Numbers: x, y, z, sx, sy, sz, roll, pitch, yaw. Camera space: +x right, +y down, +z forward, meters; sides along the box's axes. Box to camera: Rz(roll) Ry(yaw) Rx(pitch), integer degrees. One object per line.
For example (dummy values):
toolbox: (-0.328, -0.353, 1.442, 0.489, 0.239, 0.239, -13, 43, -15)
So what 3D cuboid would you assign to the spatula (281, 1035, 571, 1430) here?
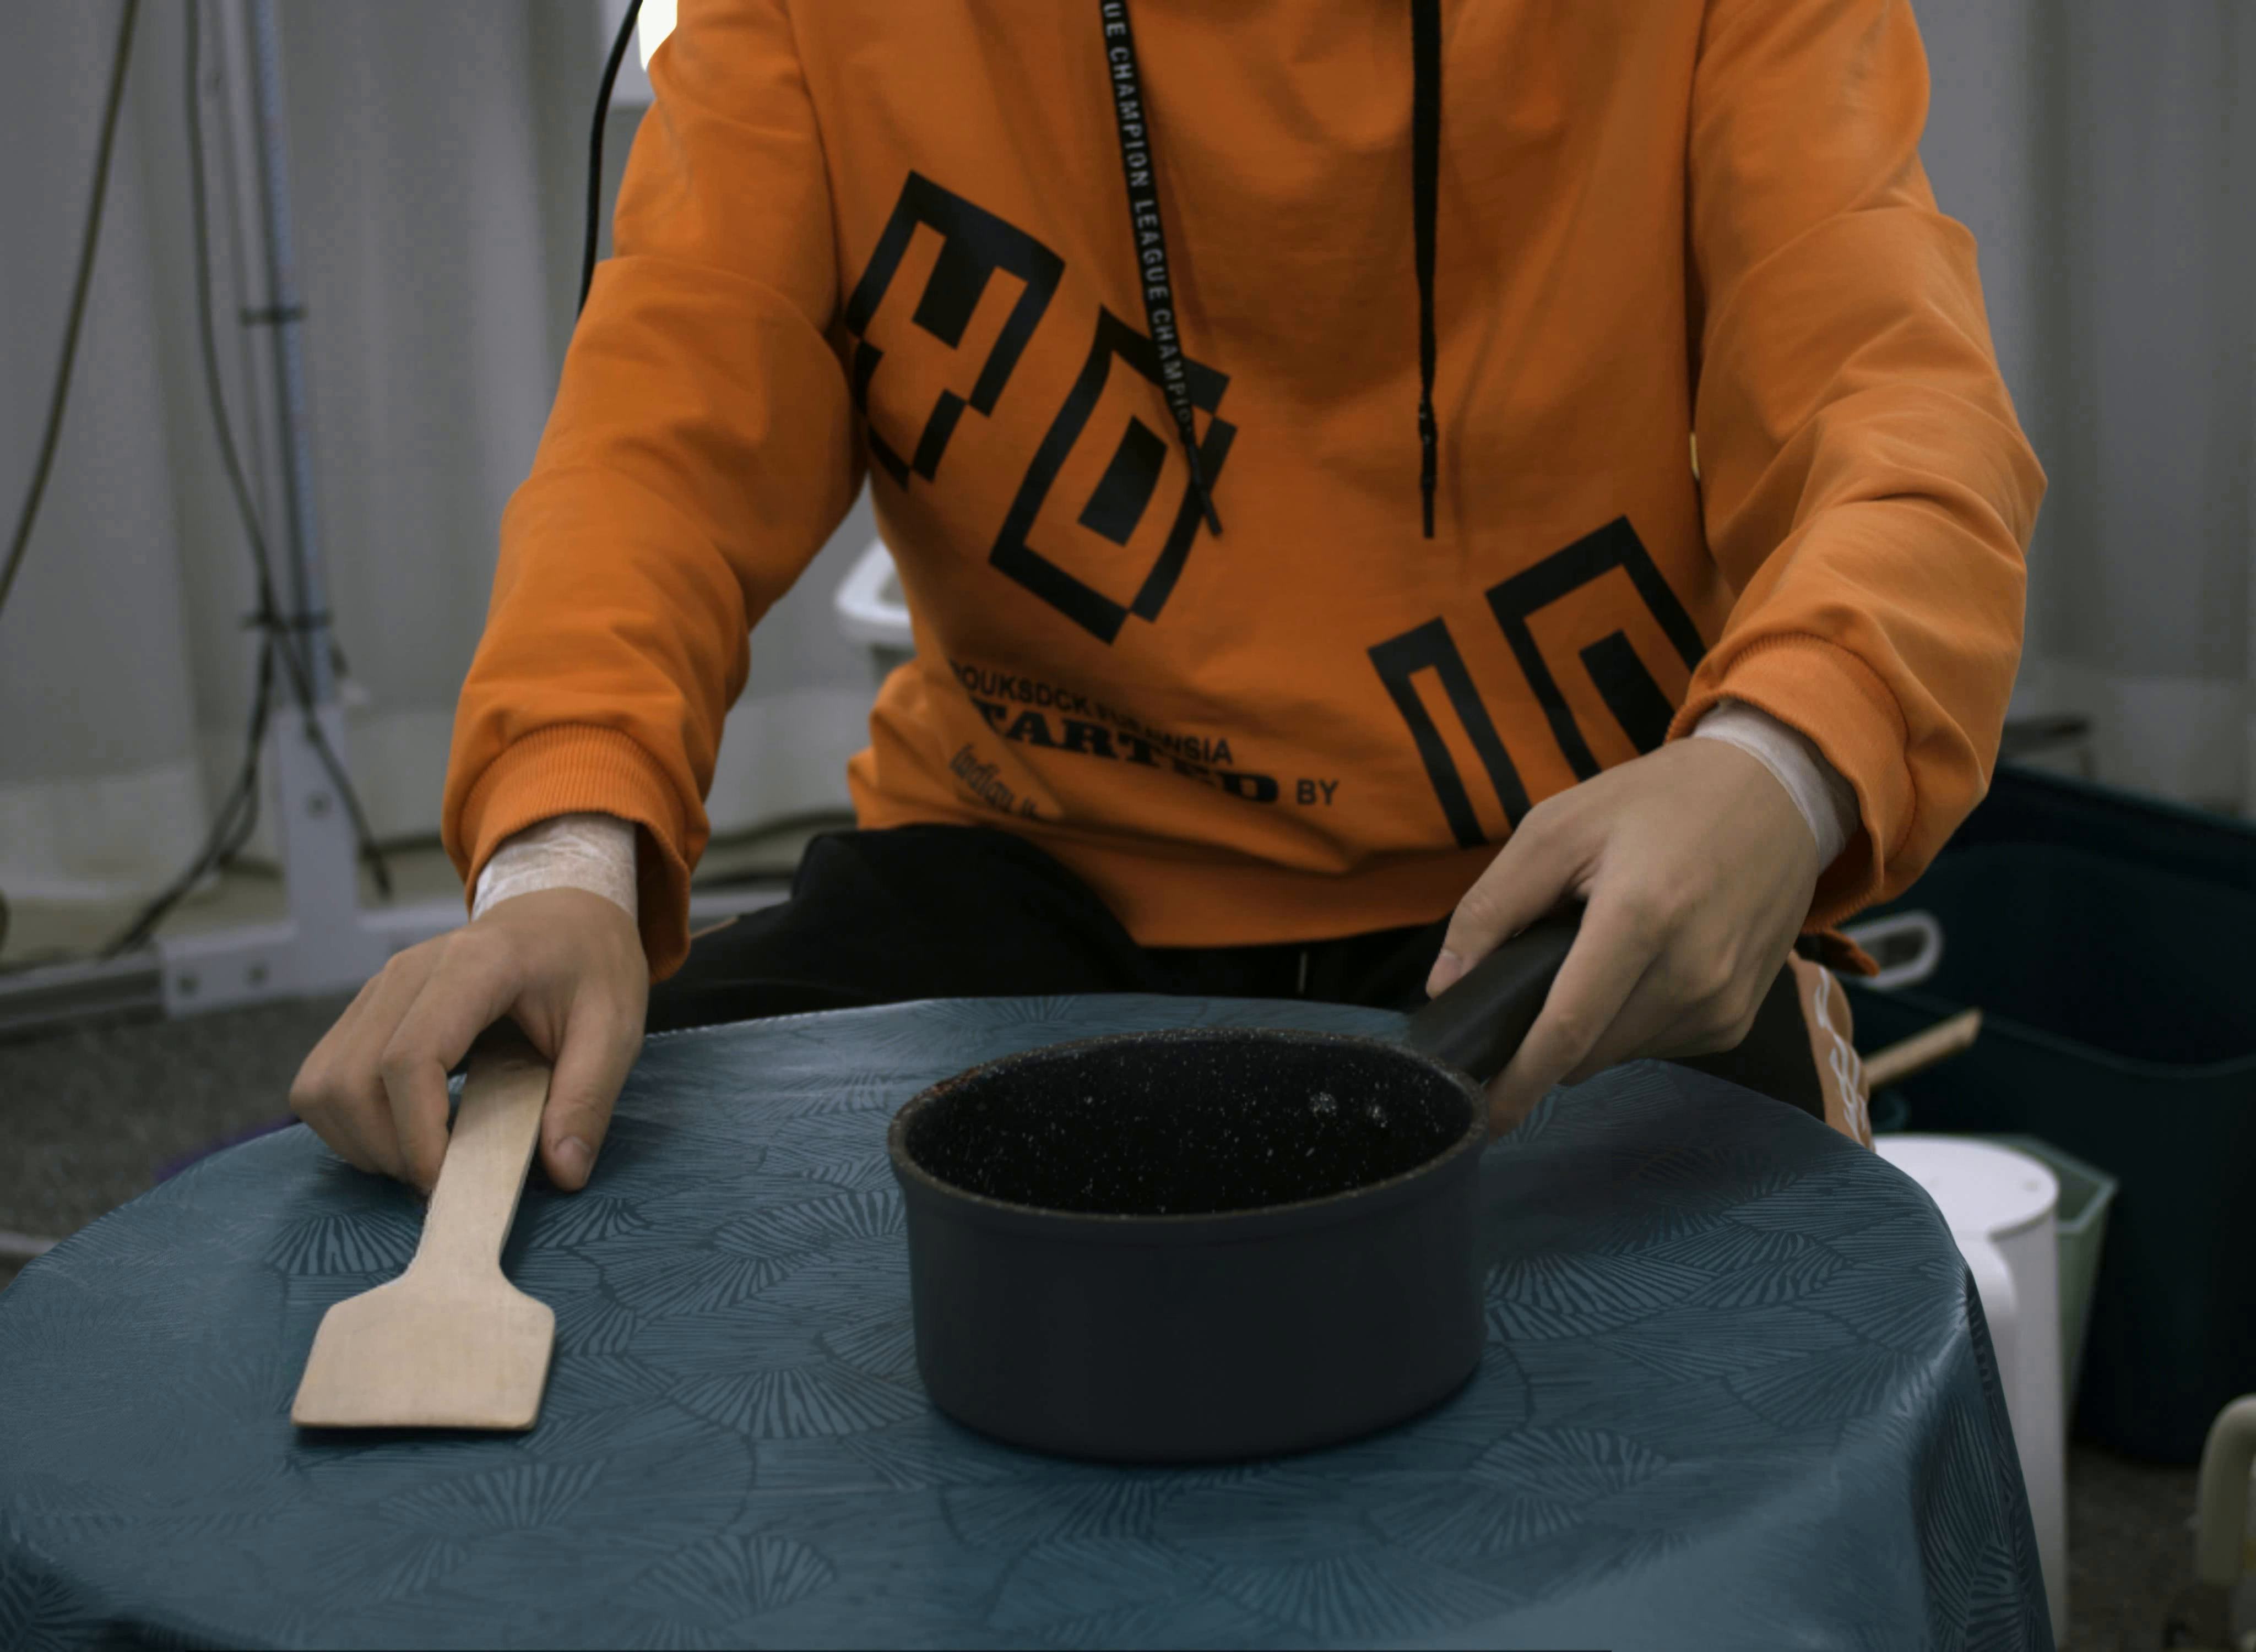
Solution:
spatula: (-0.202, 0.122, 1.675, 0.072, 0.010, 0.295, -2, 20, 2)

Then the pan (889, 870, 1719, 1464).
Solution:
pan: (0.069, 0.096, 1.609, 0.173, 0.086, 0.328, 10, 21, 39)
